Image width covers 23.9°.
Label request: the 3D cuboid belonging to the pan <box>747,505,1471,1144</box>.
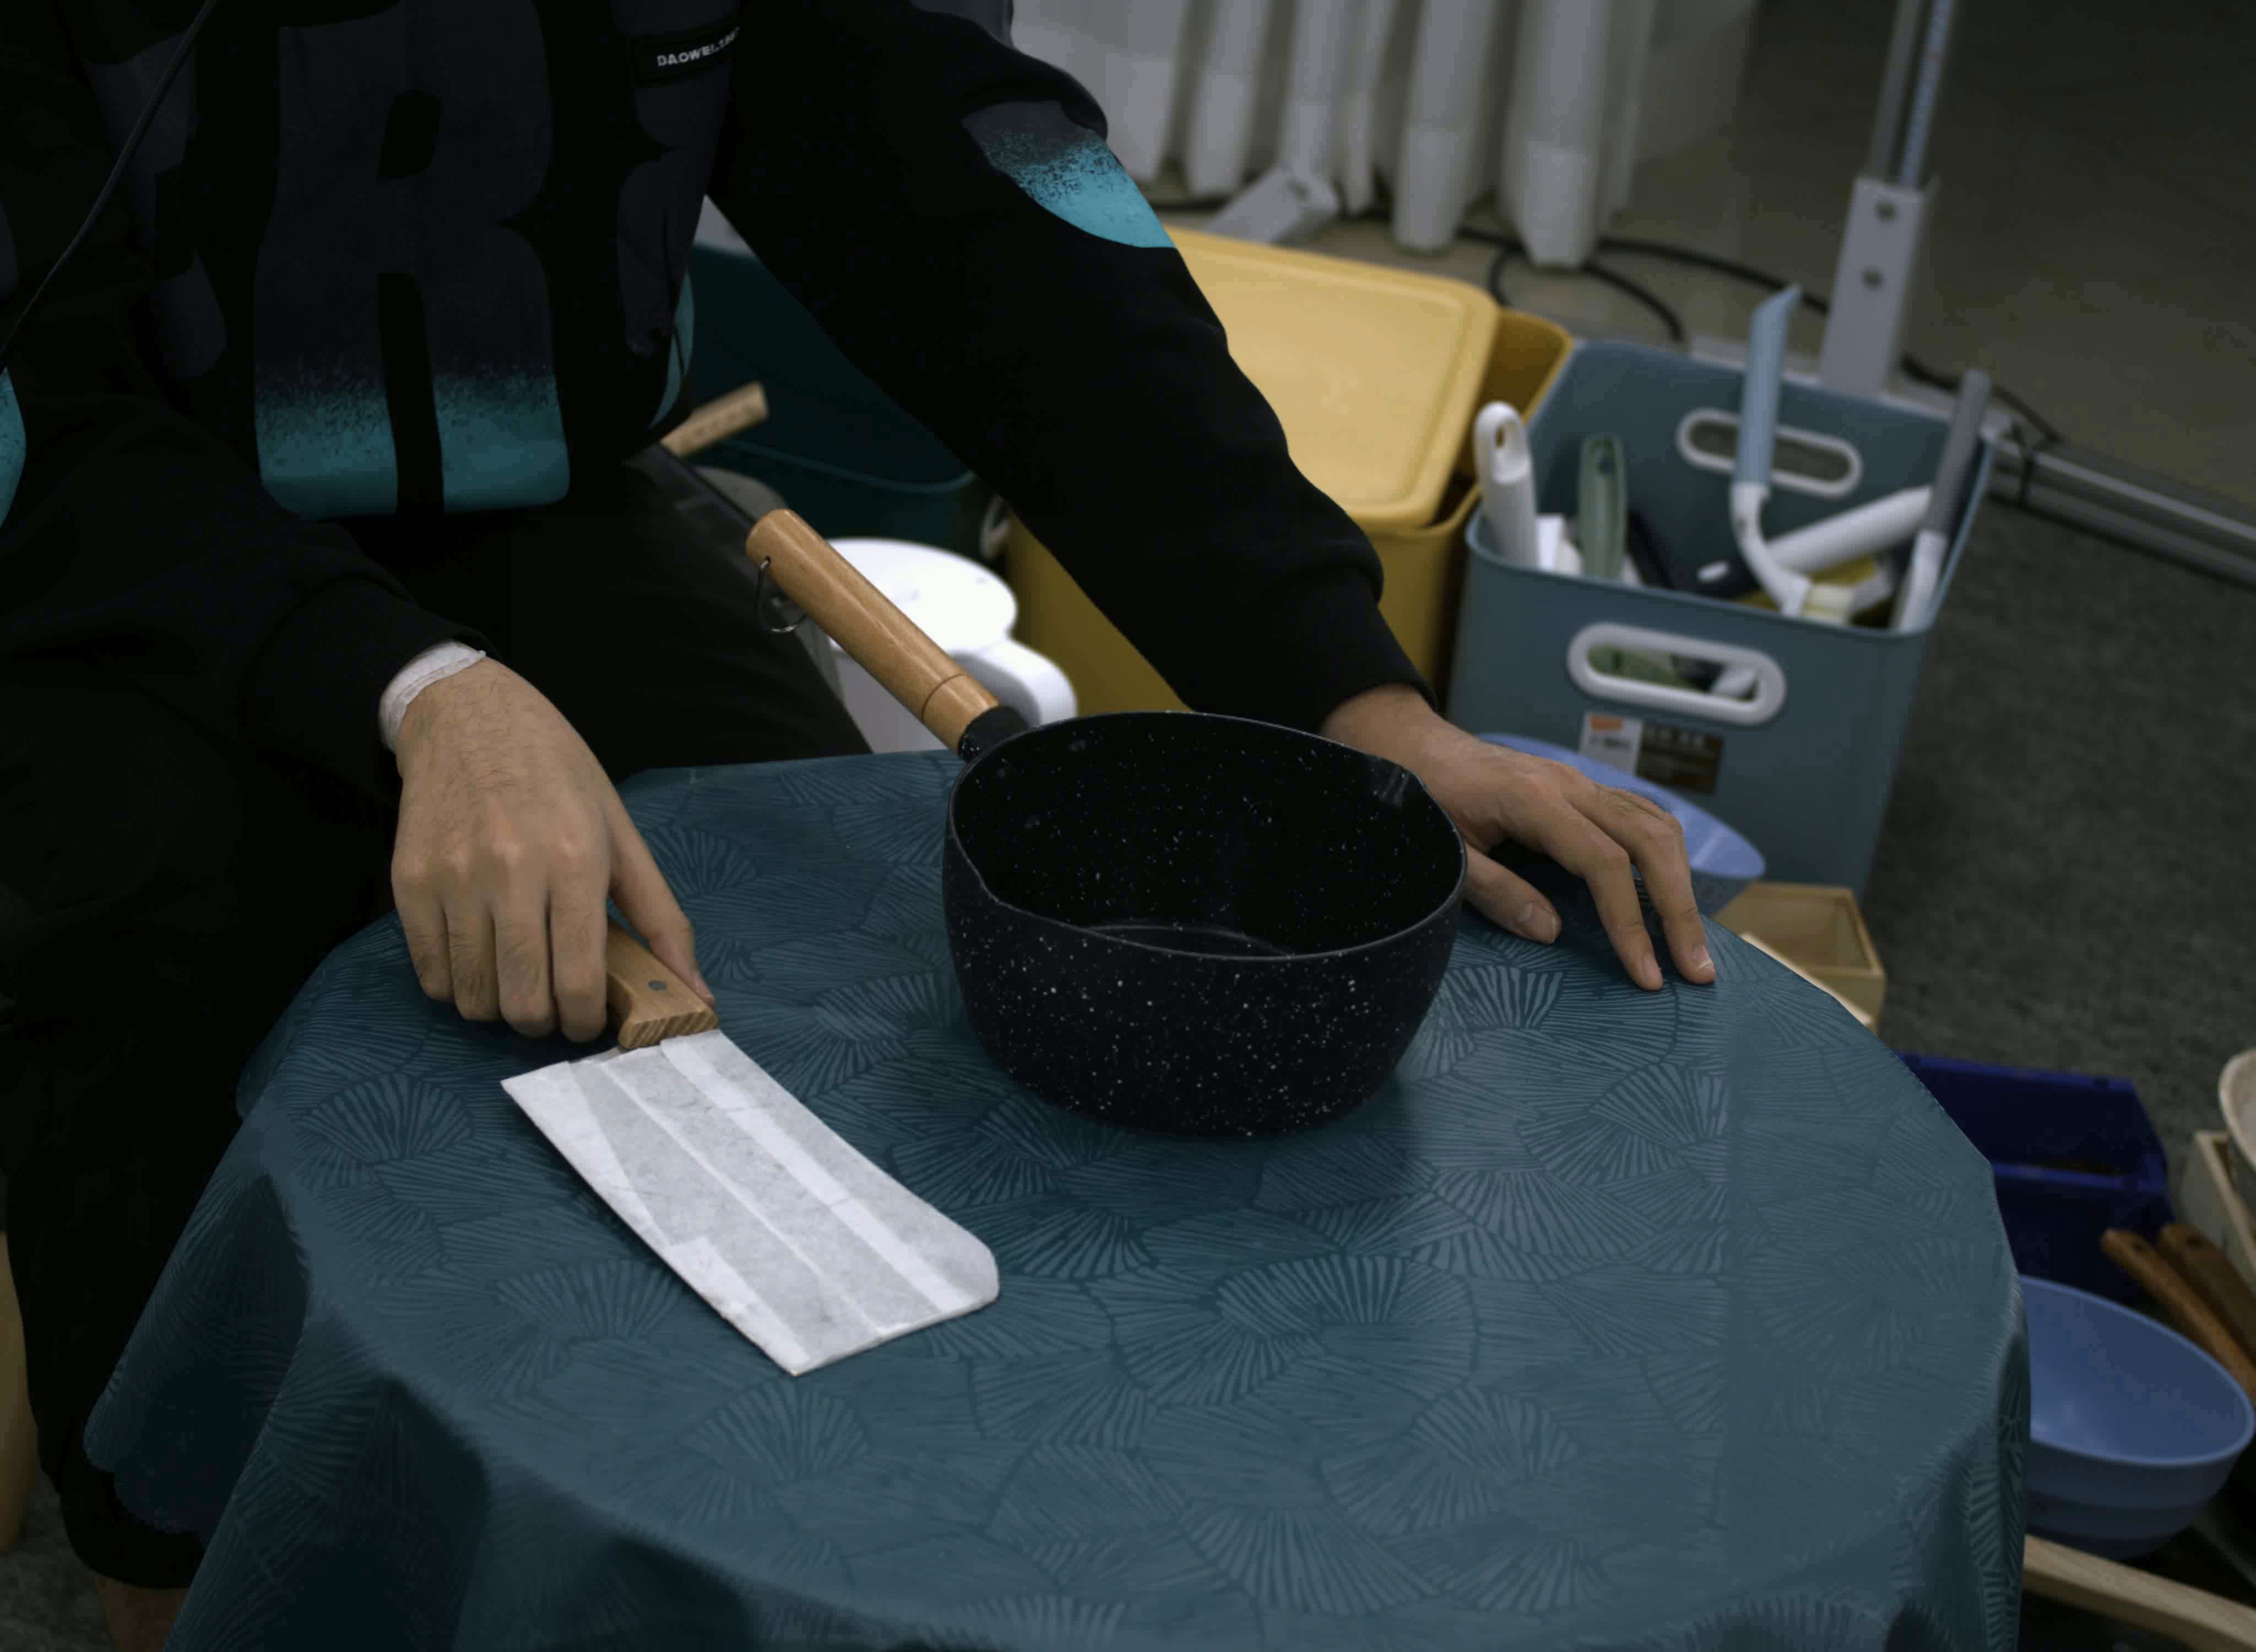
[{"bbox_3d":[-0.029,-0.004,1.926,0.206,0.108,0.345,-20,38,-40],"label":"pan"}]

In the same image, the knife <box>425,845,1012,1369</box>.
[{"bbox_3d":[-0.153,0.091,1.813,0.113,0.021,0.318,-12,35,-31],"label":"knife"}]
